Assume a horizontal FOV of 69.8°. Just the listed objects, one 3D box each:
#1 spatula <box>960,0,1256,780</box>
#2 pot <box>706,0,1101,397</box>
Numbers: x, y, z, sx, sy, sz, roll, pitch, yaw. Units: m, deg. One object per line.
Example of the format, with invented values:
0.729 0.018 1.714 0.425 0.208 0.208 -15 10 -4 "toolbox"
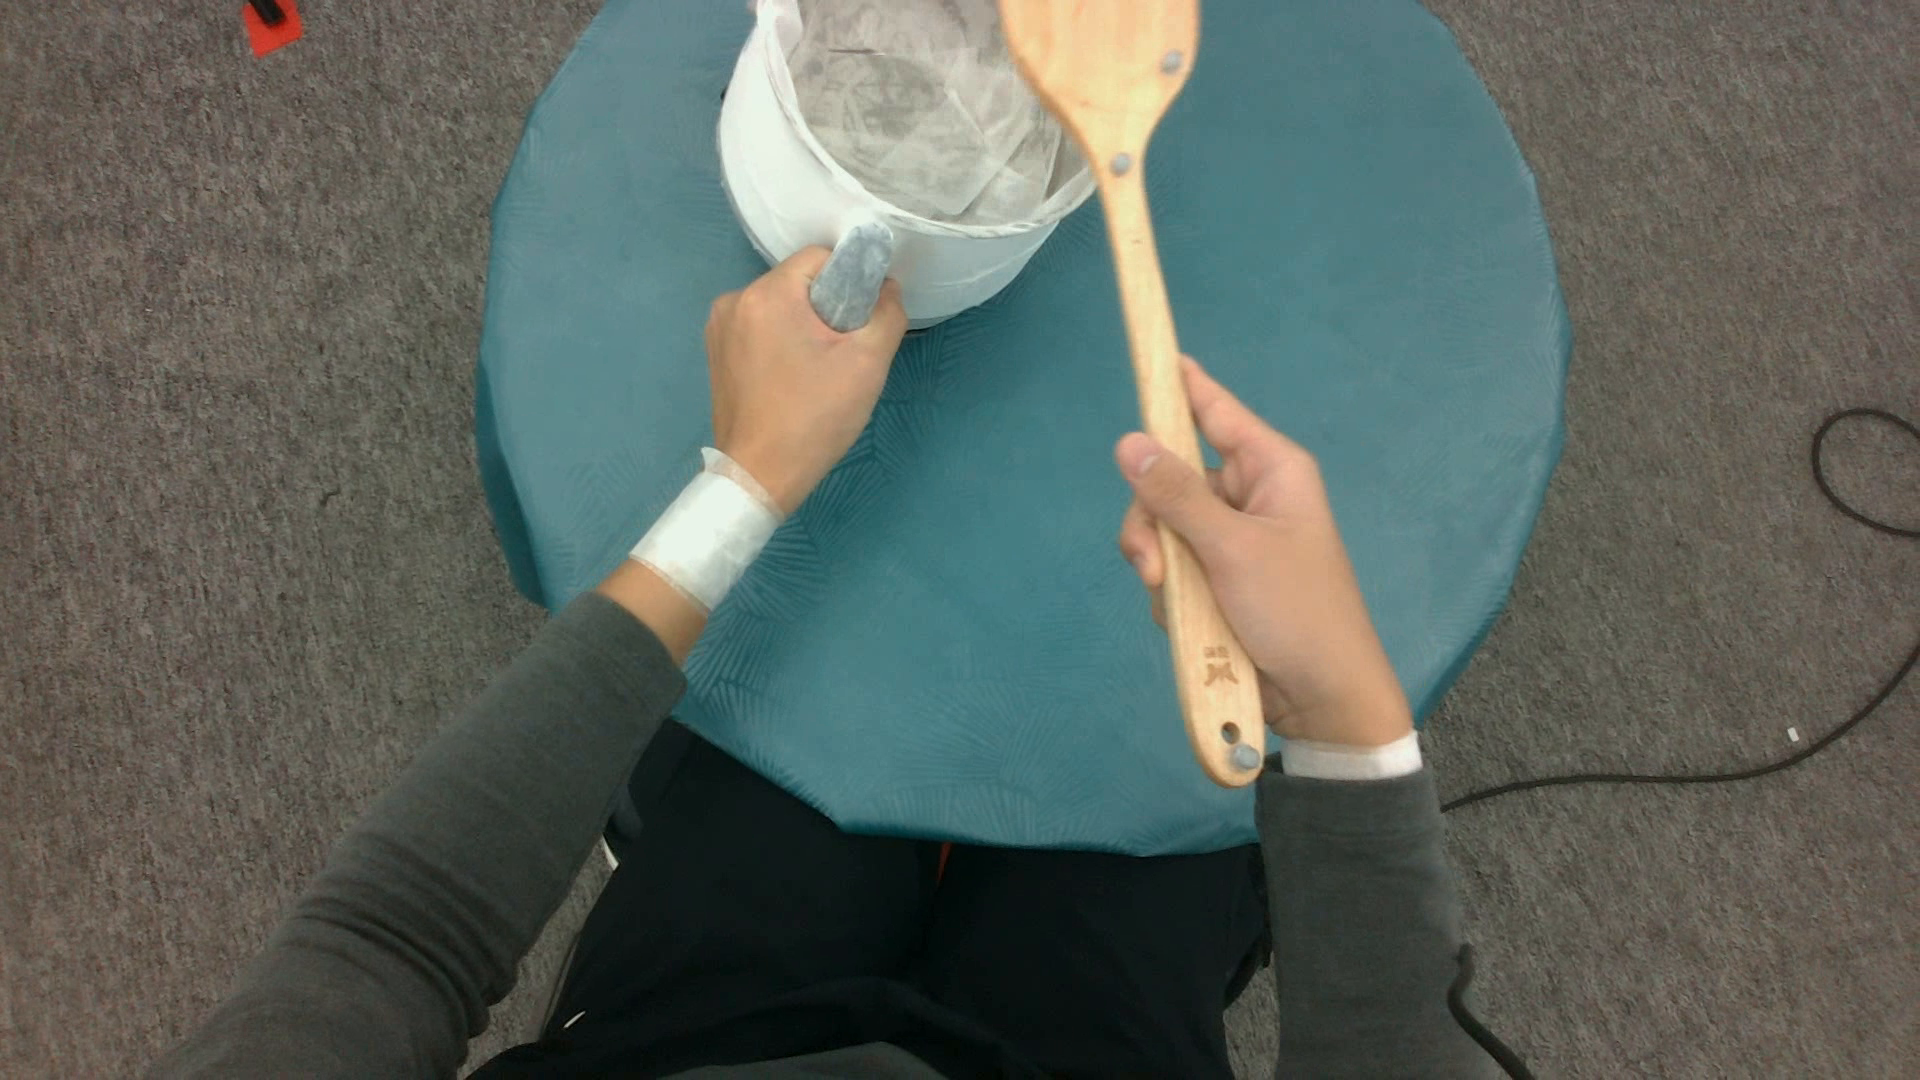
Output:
0.071 -0.093 0.568 0.096 0.018 0.392 -3 65 -16 "spatula"
-0.037 -0.185 0.673 0.179 0.136 0.234 23 69 -13 "pot"
